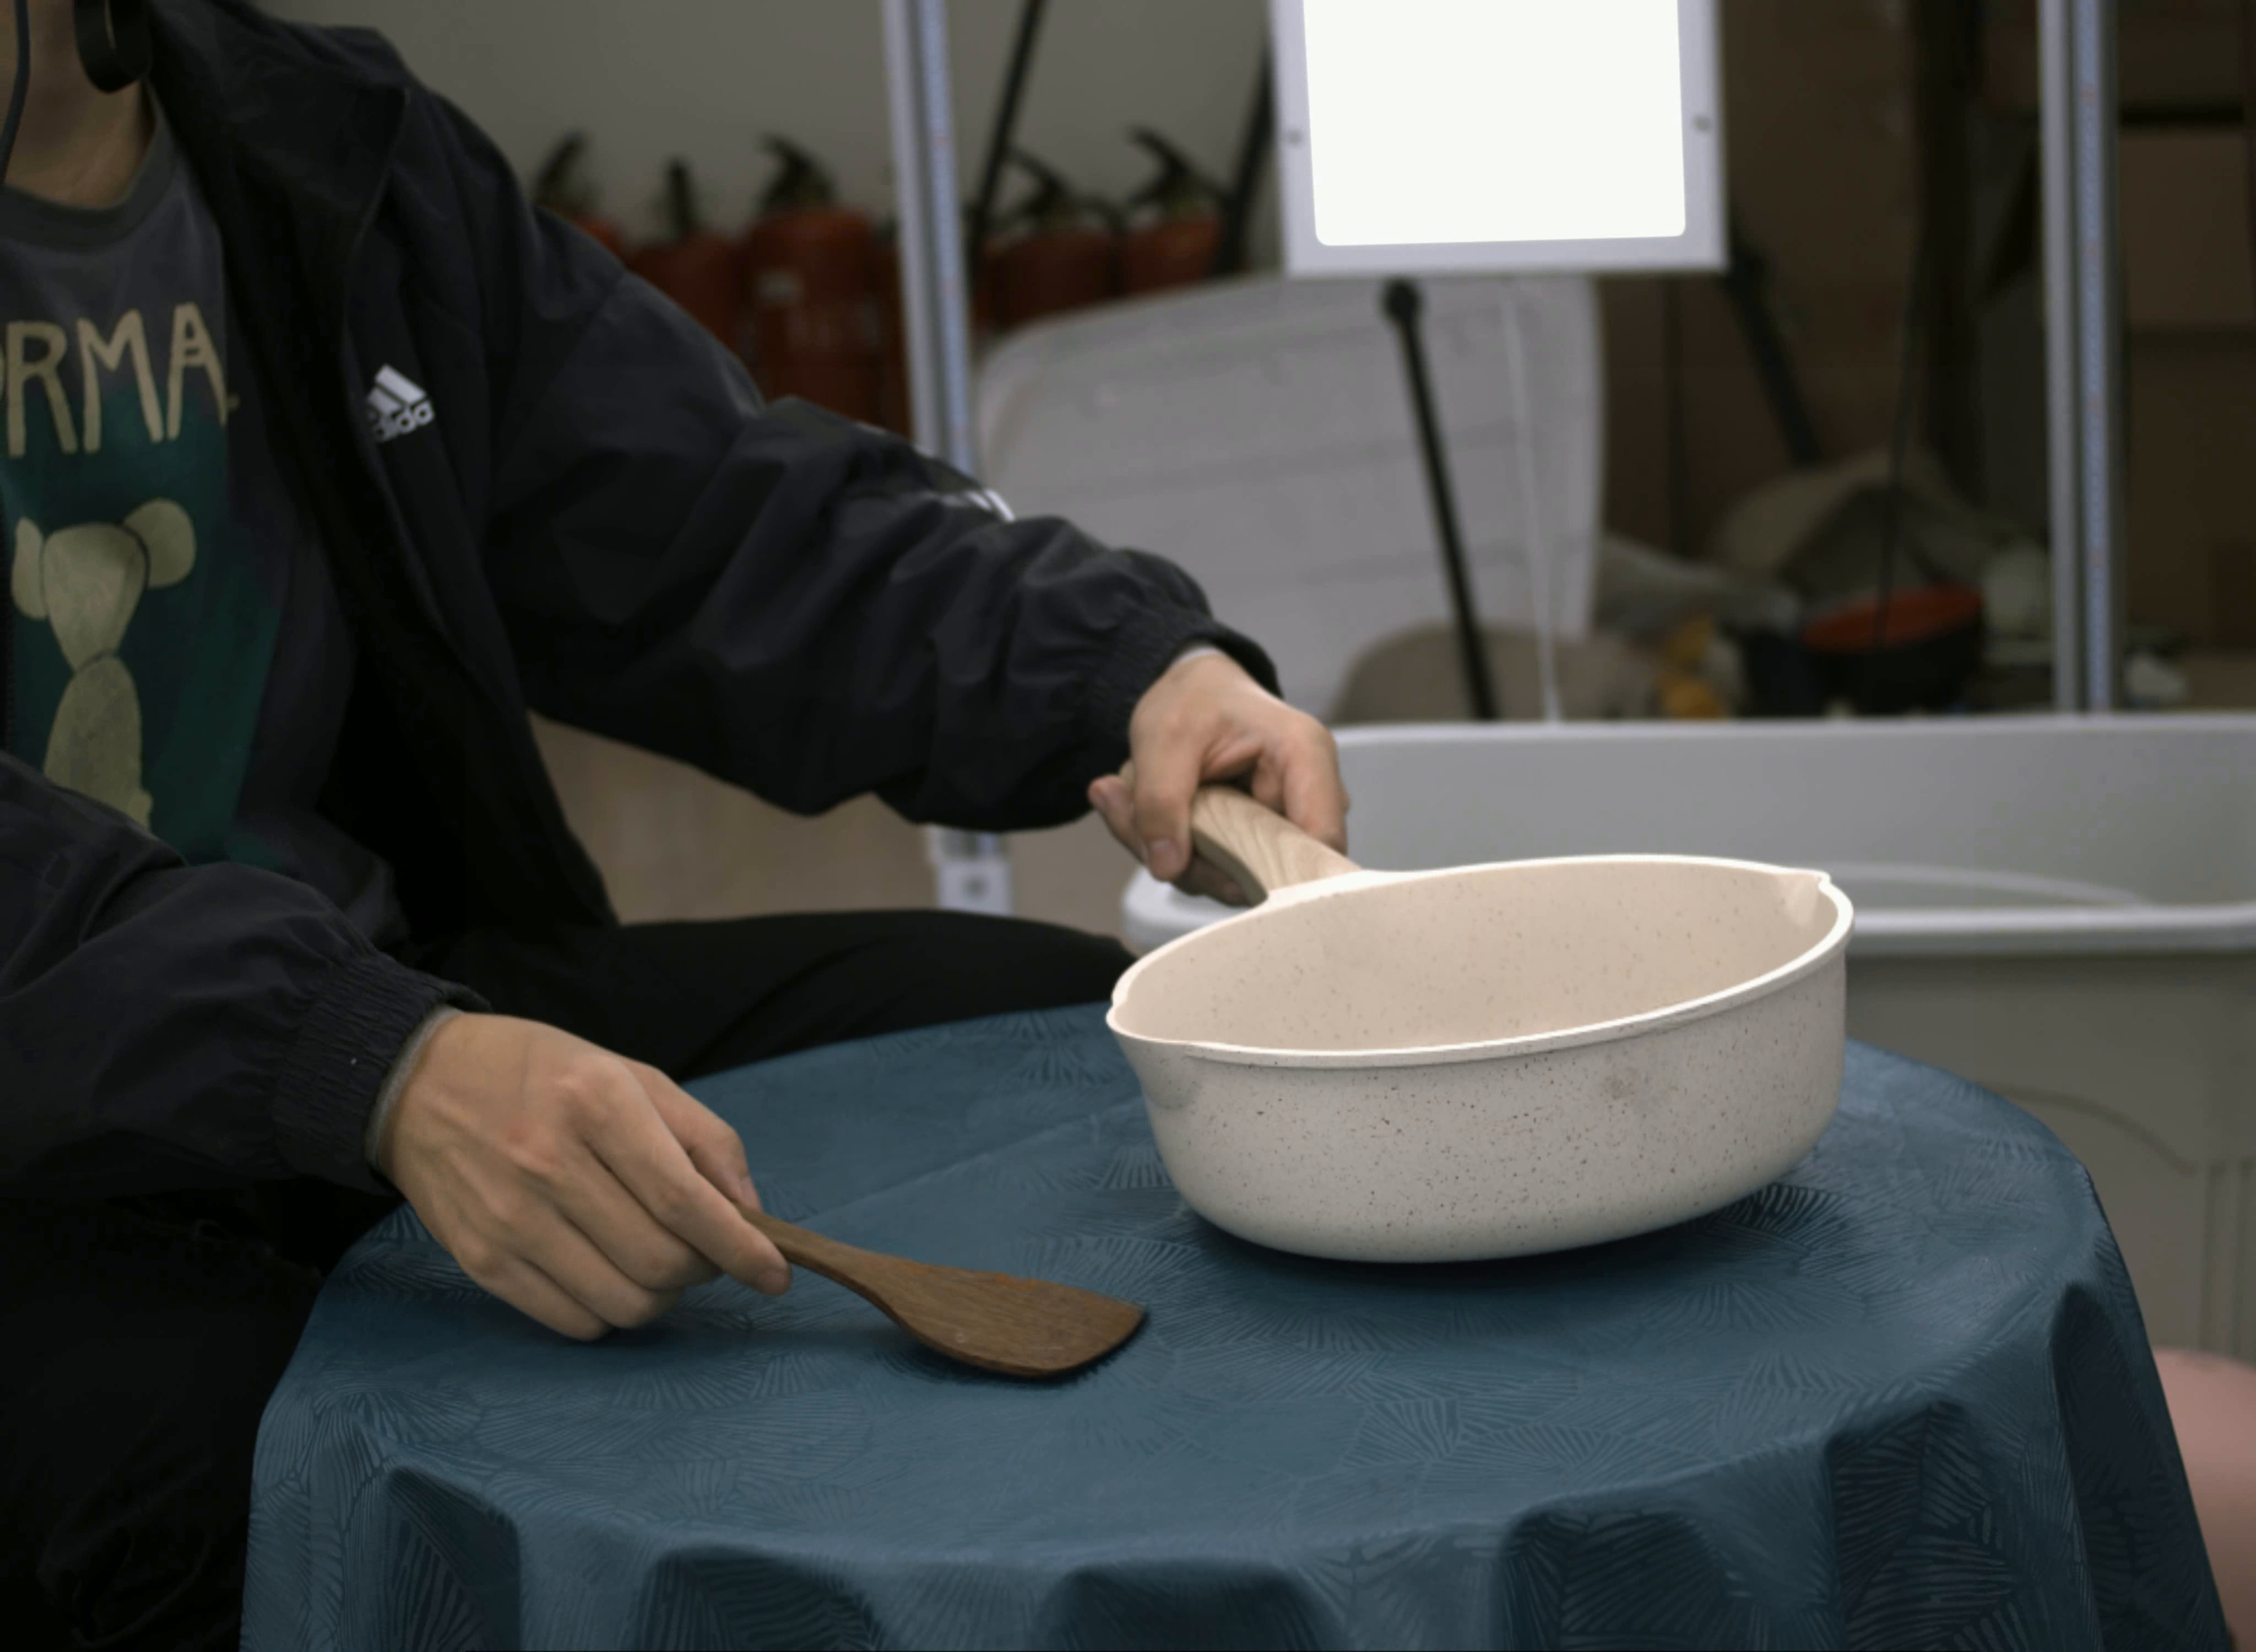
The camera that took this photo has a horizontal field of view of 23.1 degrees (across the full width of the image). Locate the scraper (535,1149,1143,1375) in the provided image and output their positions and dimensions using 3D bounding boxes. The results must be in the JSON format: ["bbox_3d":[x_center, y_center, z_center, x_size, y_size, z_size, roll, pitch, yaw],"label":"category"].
[{"bbox_3d":[-0.098,0.138,1.779,0.214,0.011,0.074,17,18,24],"label":"scraper"}]

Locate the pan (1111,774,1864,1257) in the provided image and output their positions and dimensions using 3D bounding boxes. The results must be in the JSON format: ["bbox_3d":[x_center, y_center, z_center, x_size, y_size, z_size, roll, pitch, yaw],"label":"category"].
[{"bbox_3d":[0.094,0.057,1.934,0.259,0.102,0.441,-14,13,-18],"label":"pan"}]
